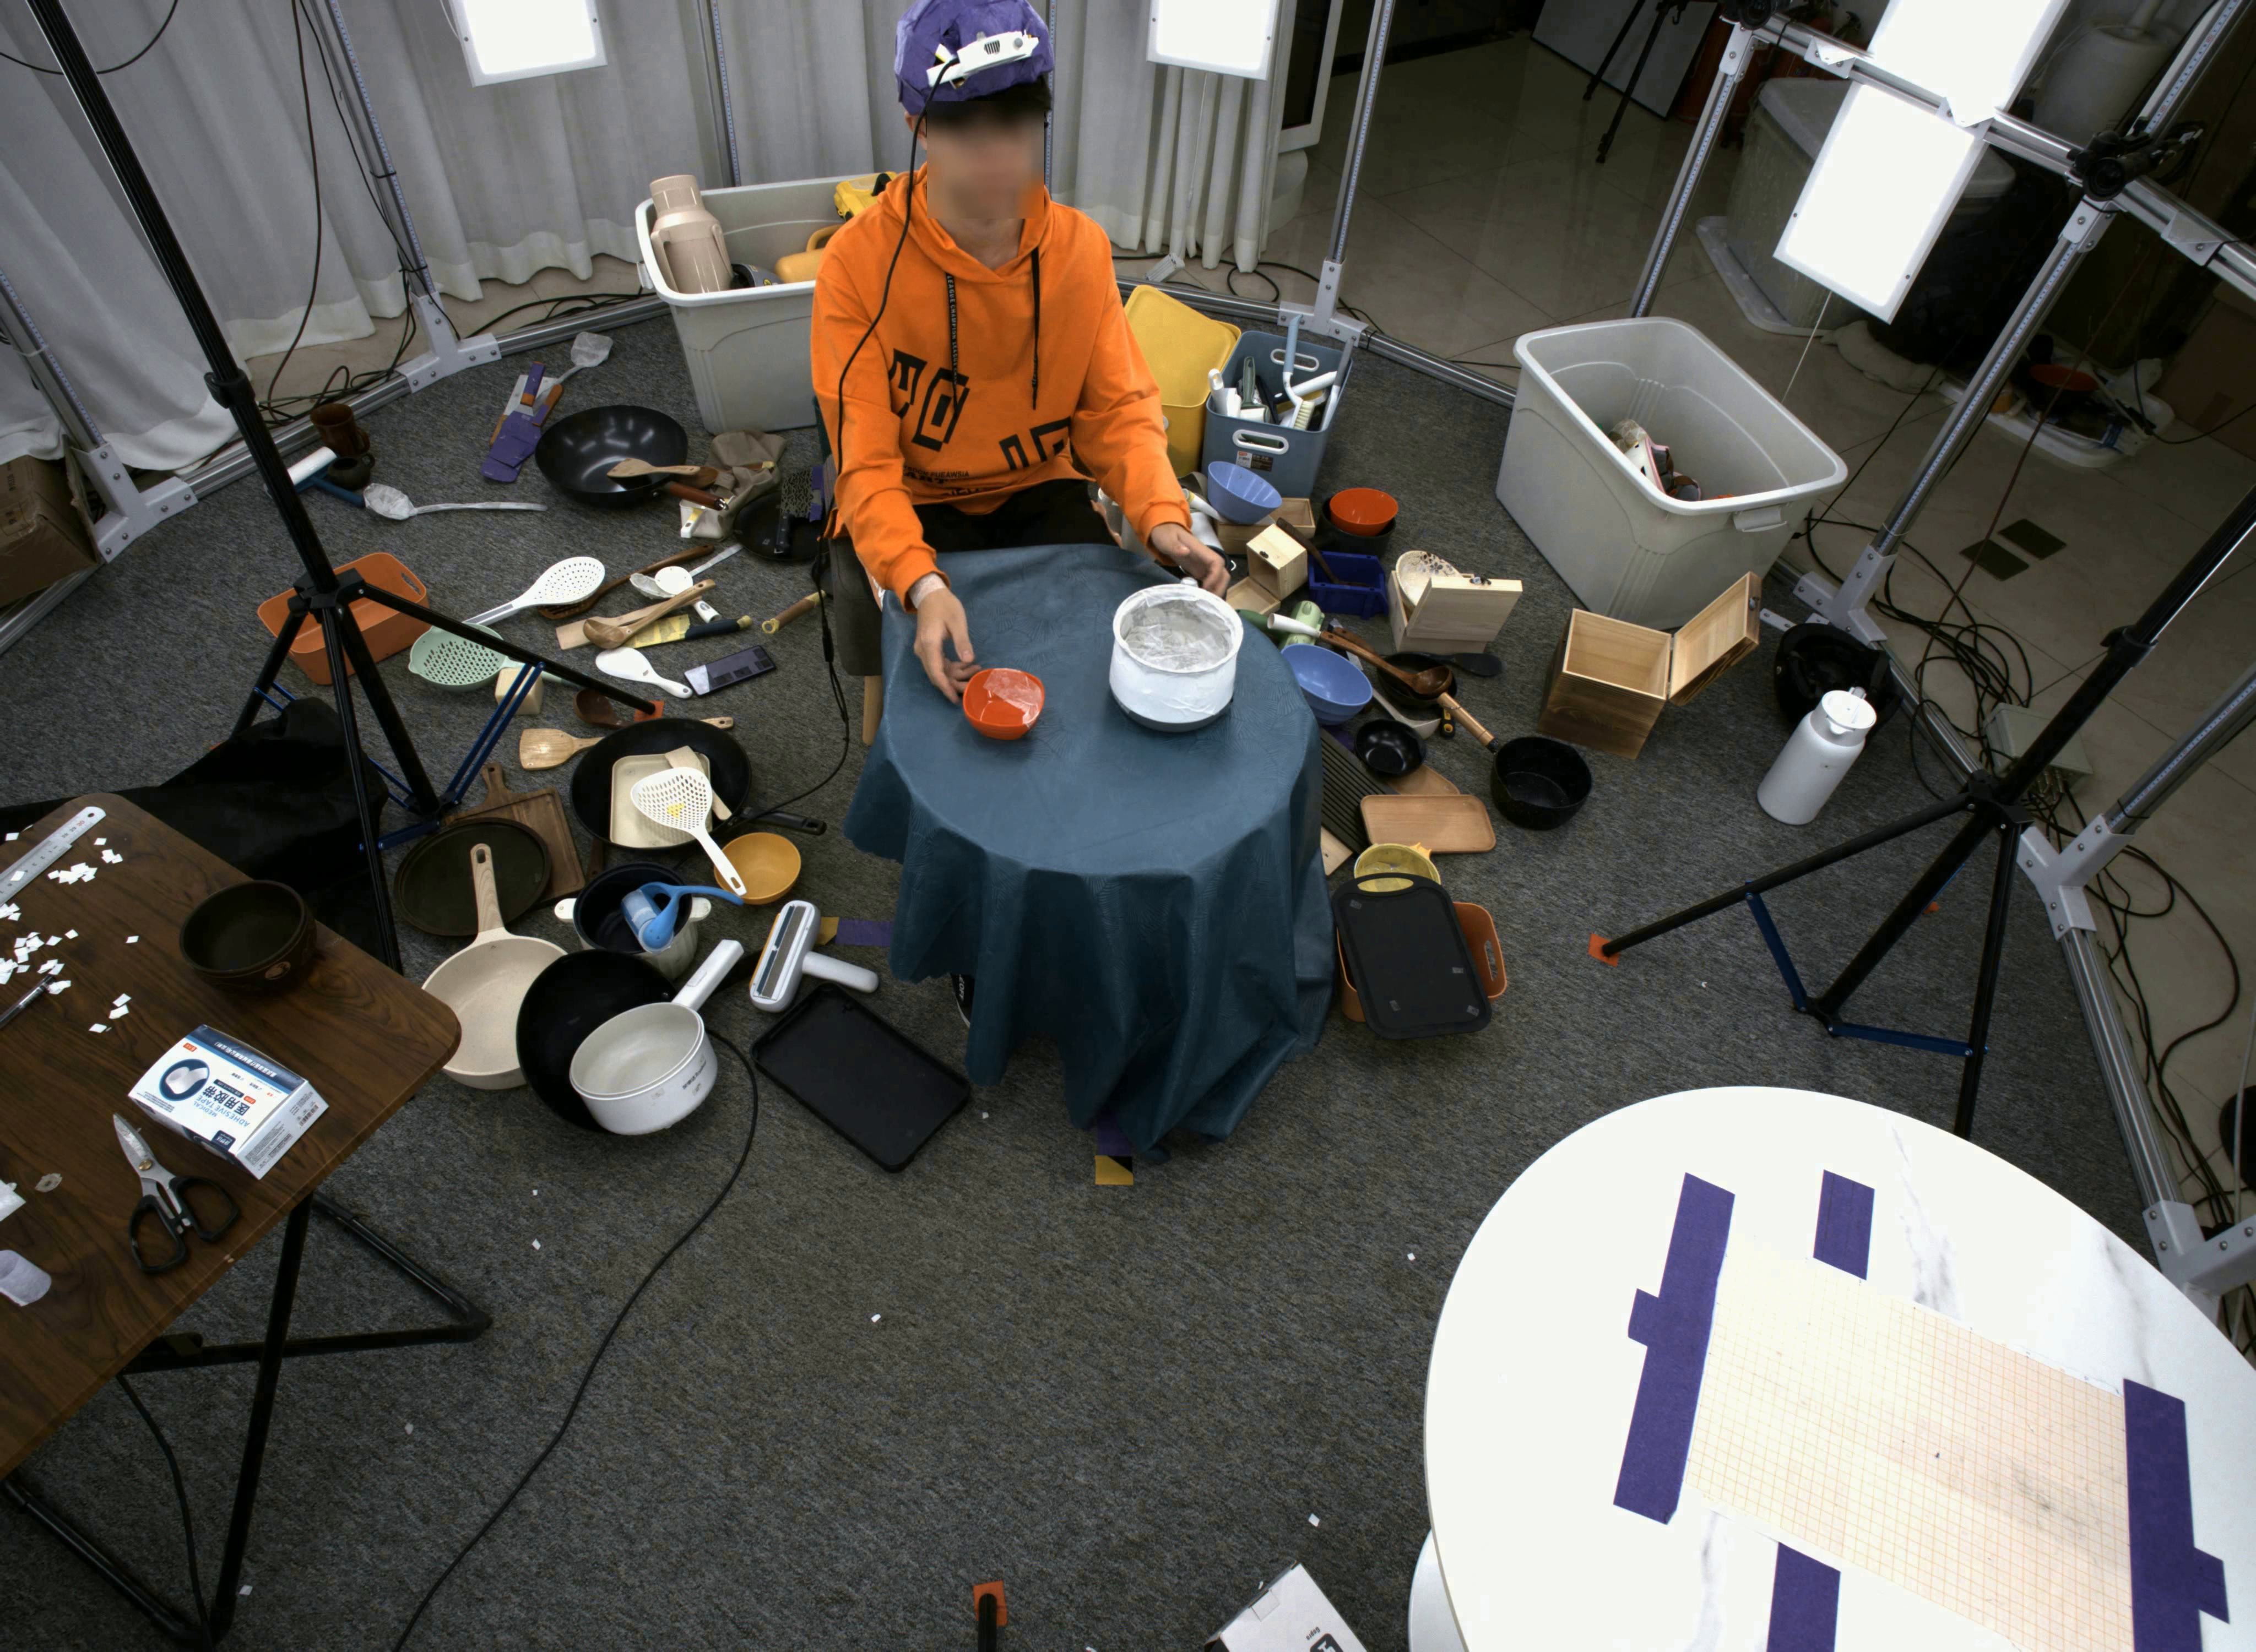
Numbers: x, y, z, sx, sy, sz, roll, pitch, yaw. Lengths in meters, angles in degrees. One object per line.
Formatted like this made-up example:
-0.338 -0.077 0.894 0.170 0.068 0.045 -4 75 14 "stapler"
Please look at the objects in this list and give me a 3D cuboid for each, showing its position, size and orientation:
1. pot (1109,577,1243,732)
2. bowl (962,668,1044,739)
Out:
0.068 -0.251 1.802 0.179 0.133 0.239 9 50 3 "pot"
-0.170 -0.162 1.765 0.119 0.050 0.122 1 50 -2 "bowl"
